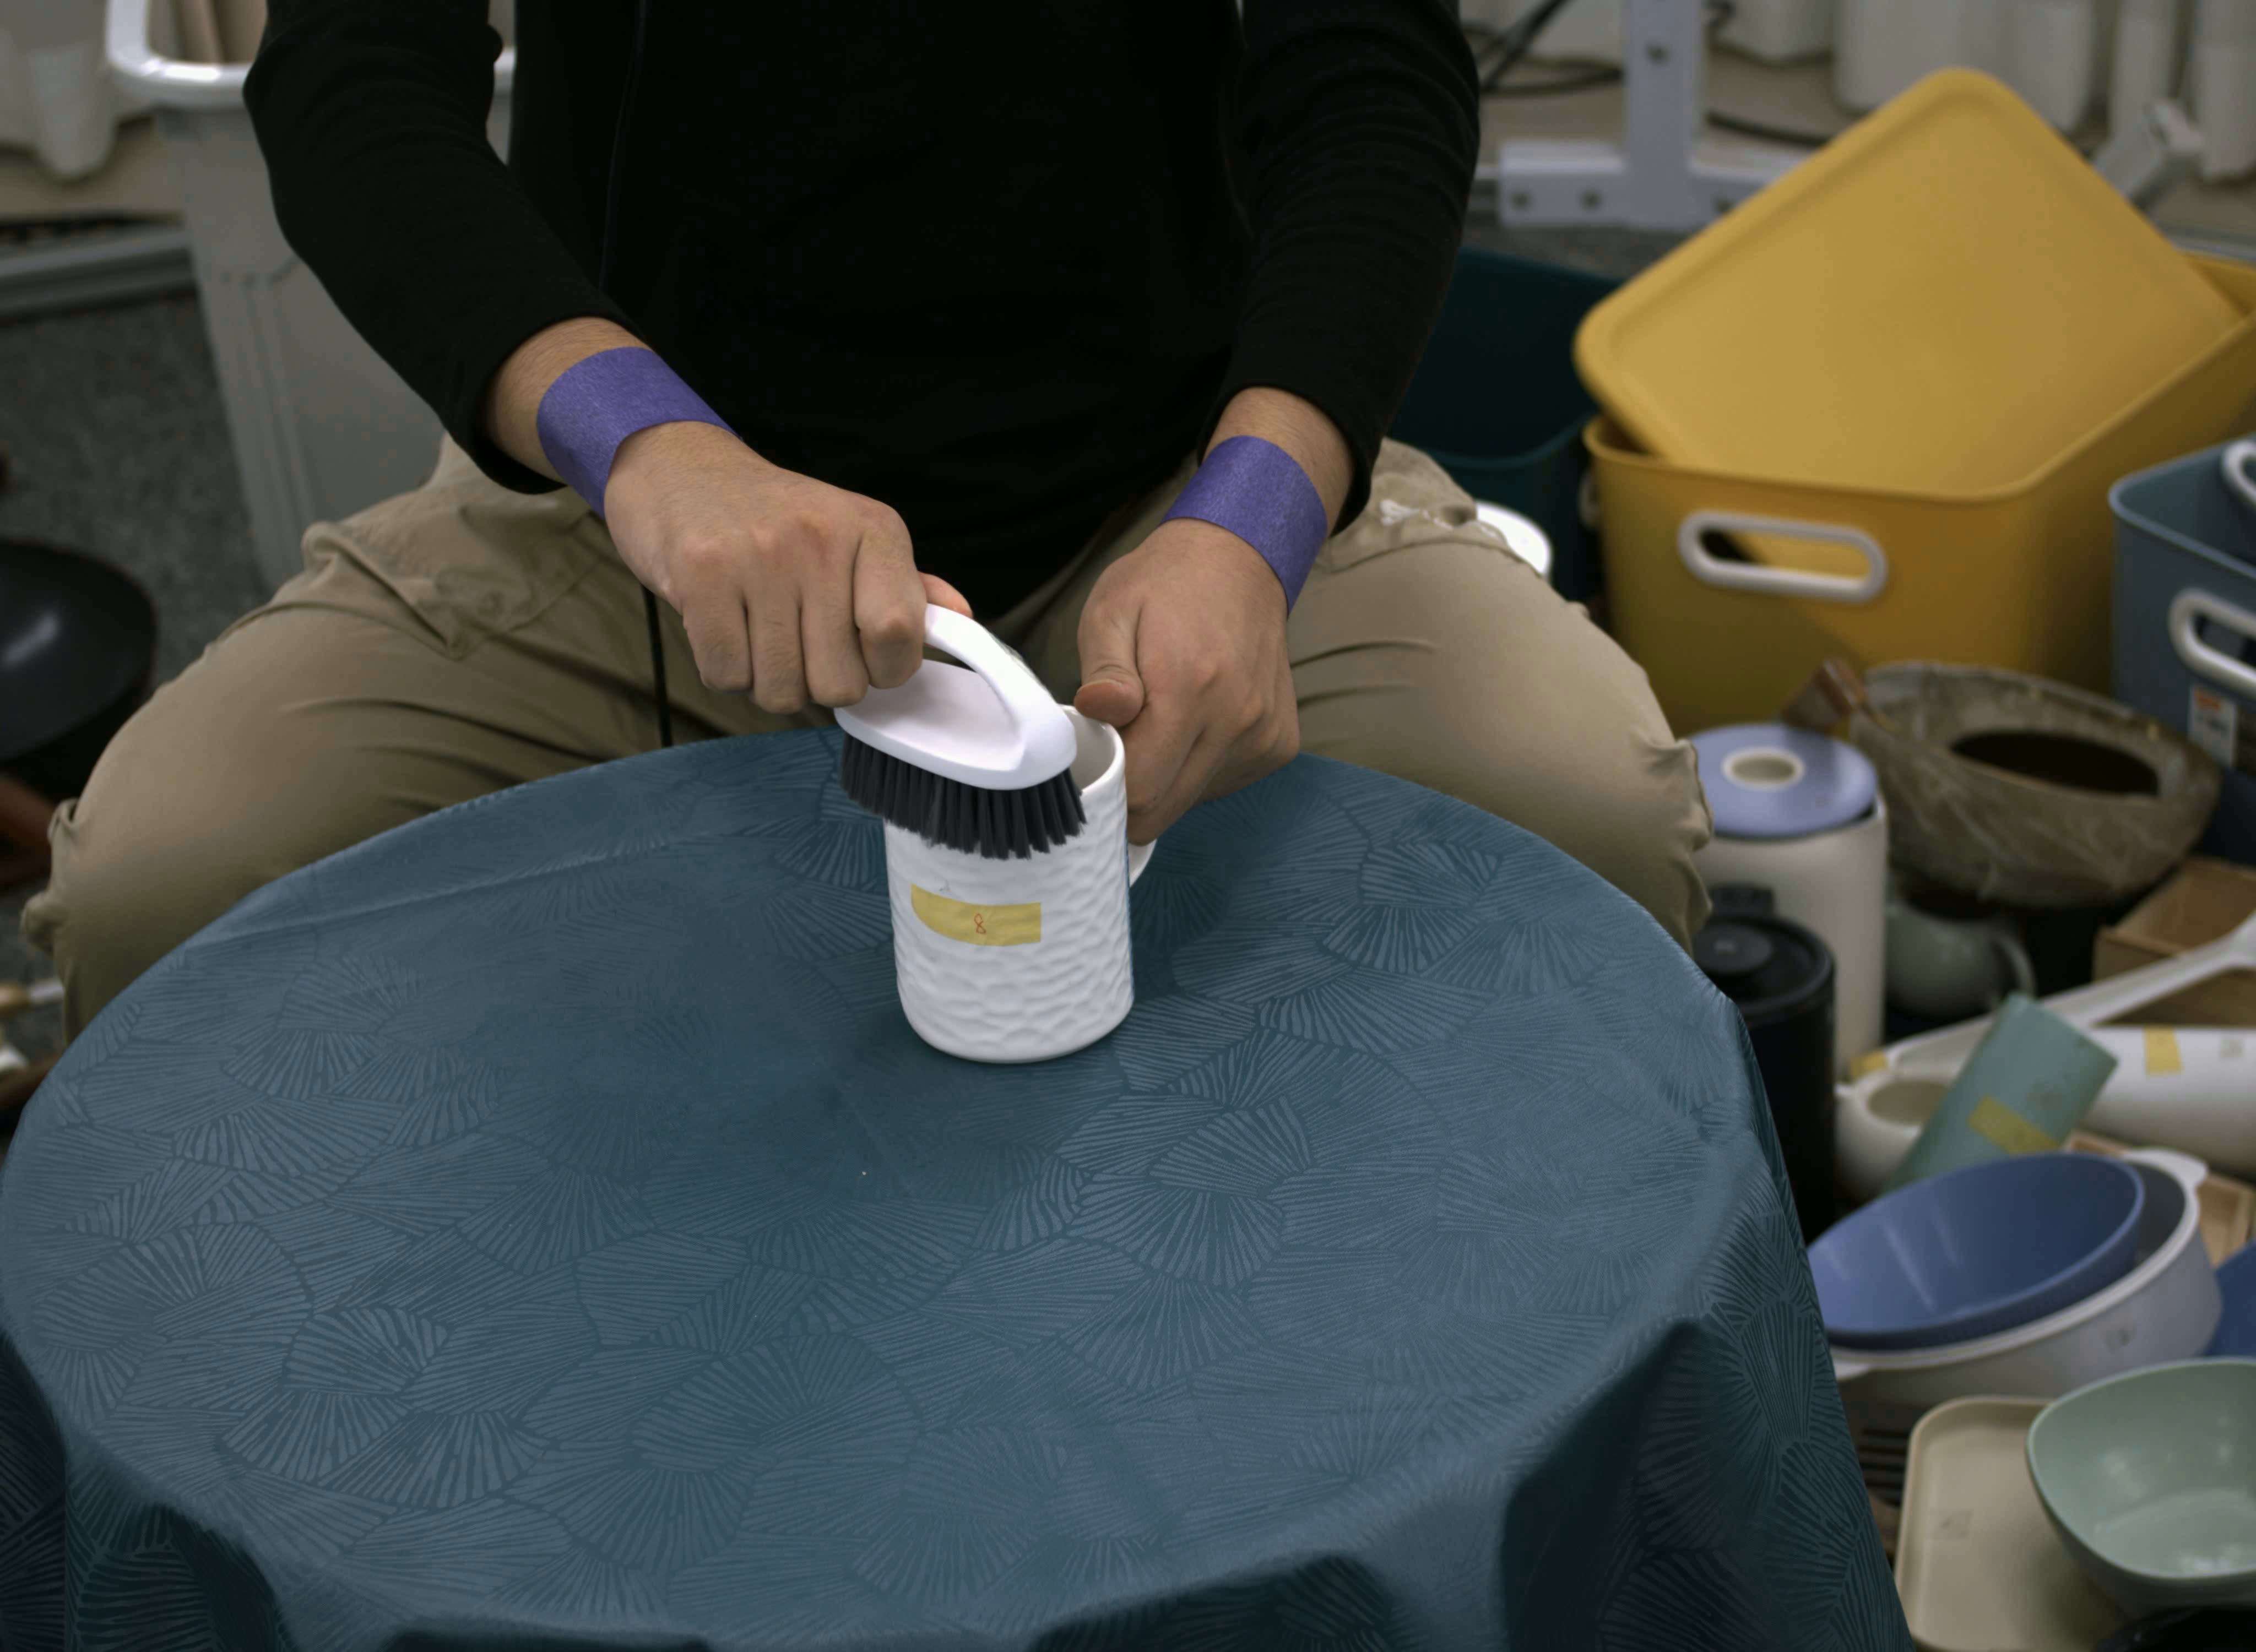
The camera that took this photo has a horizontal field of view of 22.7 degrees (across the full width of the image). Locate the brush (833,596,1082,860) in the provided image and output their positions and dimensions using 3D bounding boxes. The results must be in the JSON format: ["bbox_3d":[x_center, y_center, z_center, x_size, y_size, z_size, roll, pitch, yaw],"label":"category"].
[{"bbox_3d":[-0.060,-0.039,1.891,0.051,0.071,0.099,-27,36,-34],"label":"brush"}]

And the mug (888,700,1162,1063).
[{"bbox_3d":[-0.030,0.014,1.963,0.084,0.101,0.120,18,33,34],"label":"mug"}]
